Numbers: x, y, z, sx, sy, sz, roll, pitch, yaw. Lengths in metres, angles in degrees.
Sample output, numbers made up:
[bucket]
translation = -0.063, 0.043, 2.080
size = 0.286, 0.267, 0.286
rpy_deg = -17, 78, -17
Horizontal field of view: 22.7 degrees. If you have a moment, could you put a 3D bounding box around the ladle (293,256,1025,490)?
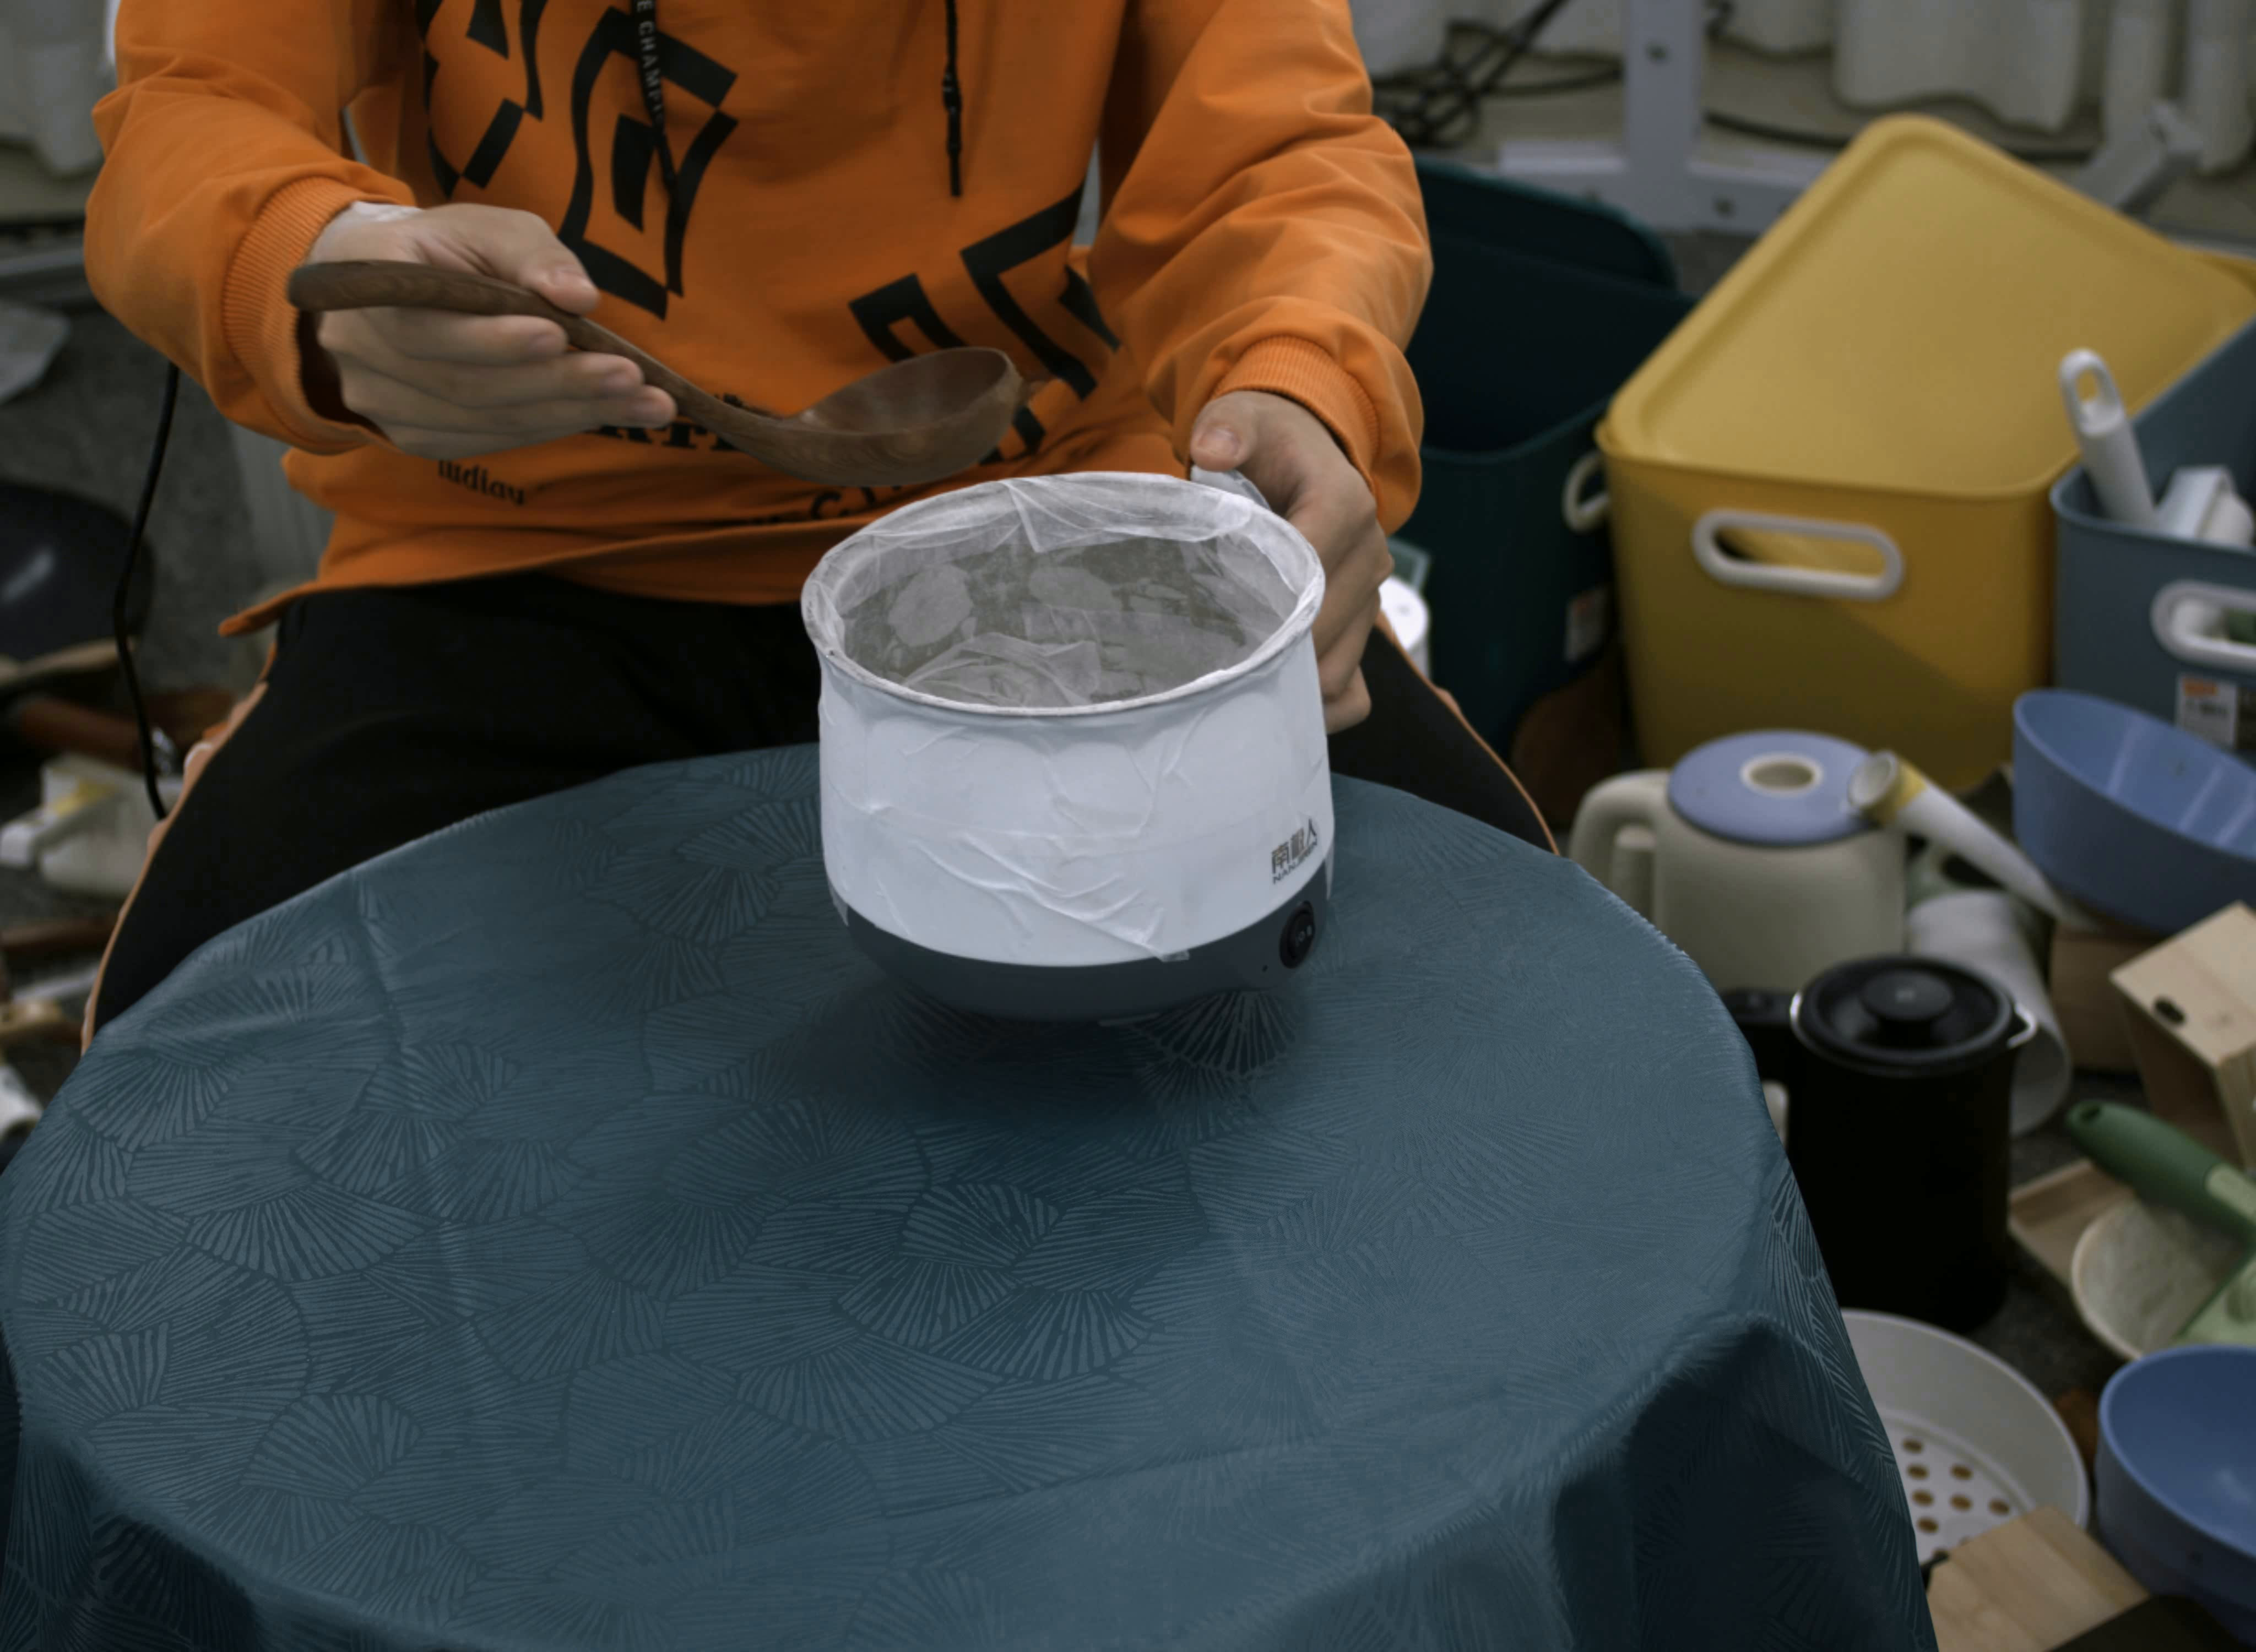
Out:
[ladle]
translation = -0.149, -0.162, 1.836
size = 0.260, 0.065, 0.076
rpy_deg = 18, -4, -32

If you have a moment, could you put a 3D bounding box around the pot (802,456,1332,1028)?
[pot]
translation = -0.005, -0.038, 1.943
size = 0.178, 0.135, 0.237
rpy_deg = 13, 33, 26
